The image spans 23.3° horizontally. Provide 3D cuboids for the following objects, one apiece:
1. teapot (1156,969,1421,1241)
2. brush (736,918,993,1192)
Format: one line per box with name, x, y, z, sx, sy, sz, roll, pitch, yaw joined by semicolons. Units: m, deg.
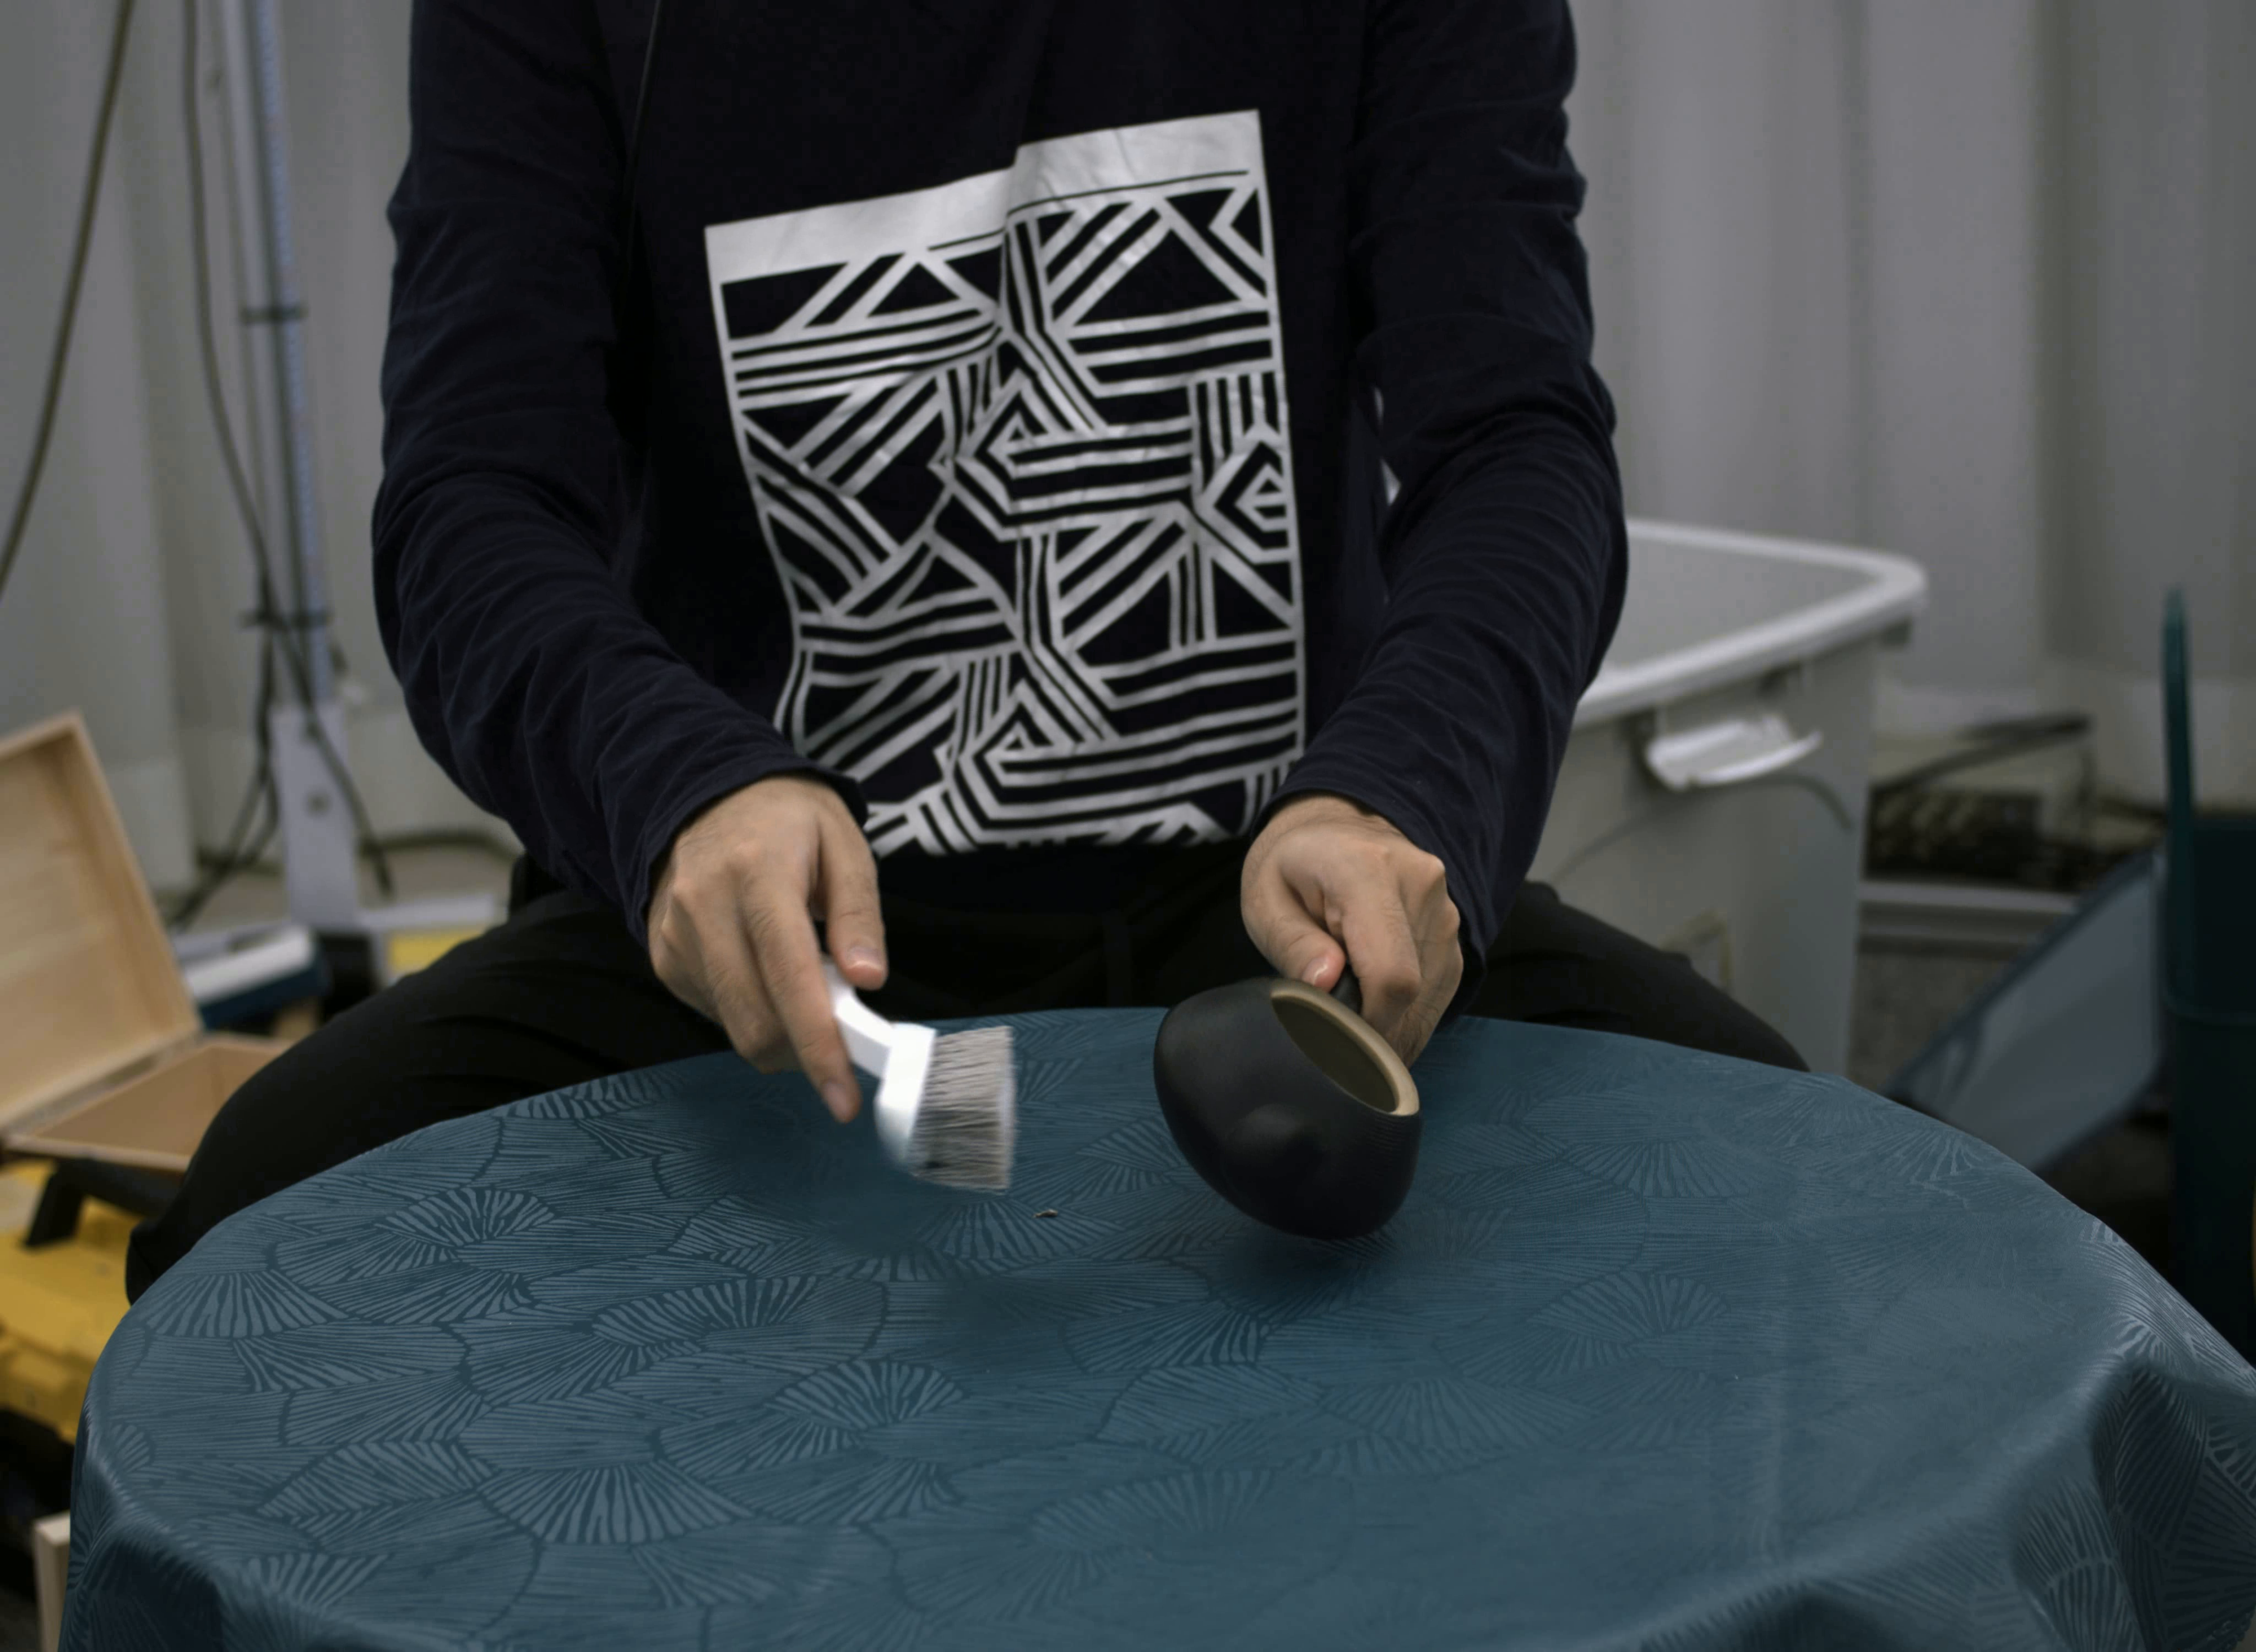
teapot;0.049;0.084;1.650;0.090;0.053;0.134;38;22;-9
brush;-0.080;0.063;1.695;0.050;0.034;0.245;-12;16;-11
